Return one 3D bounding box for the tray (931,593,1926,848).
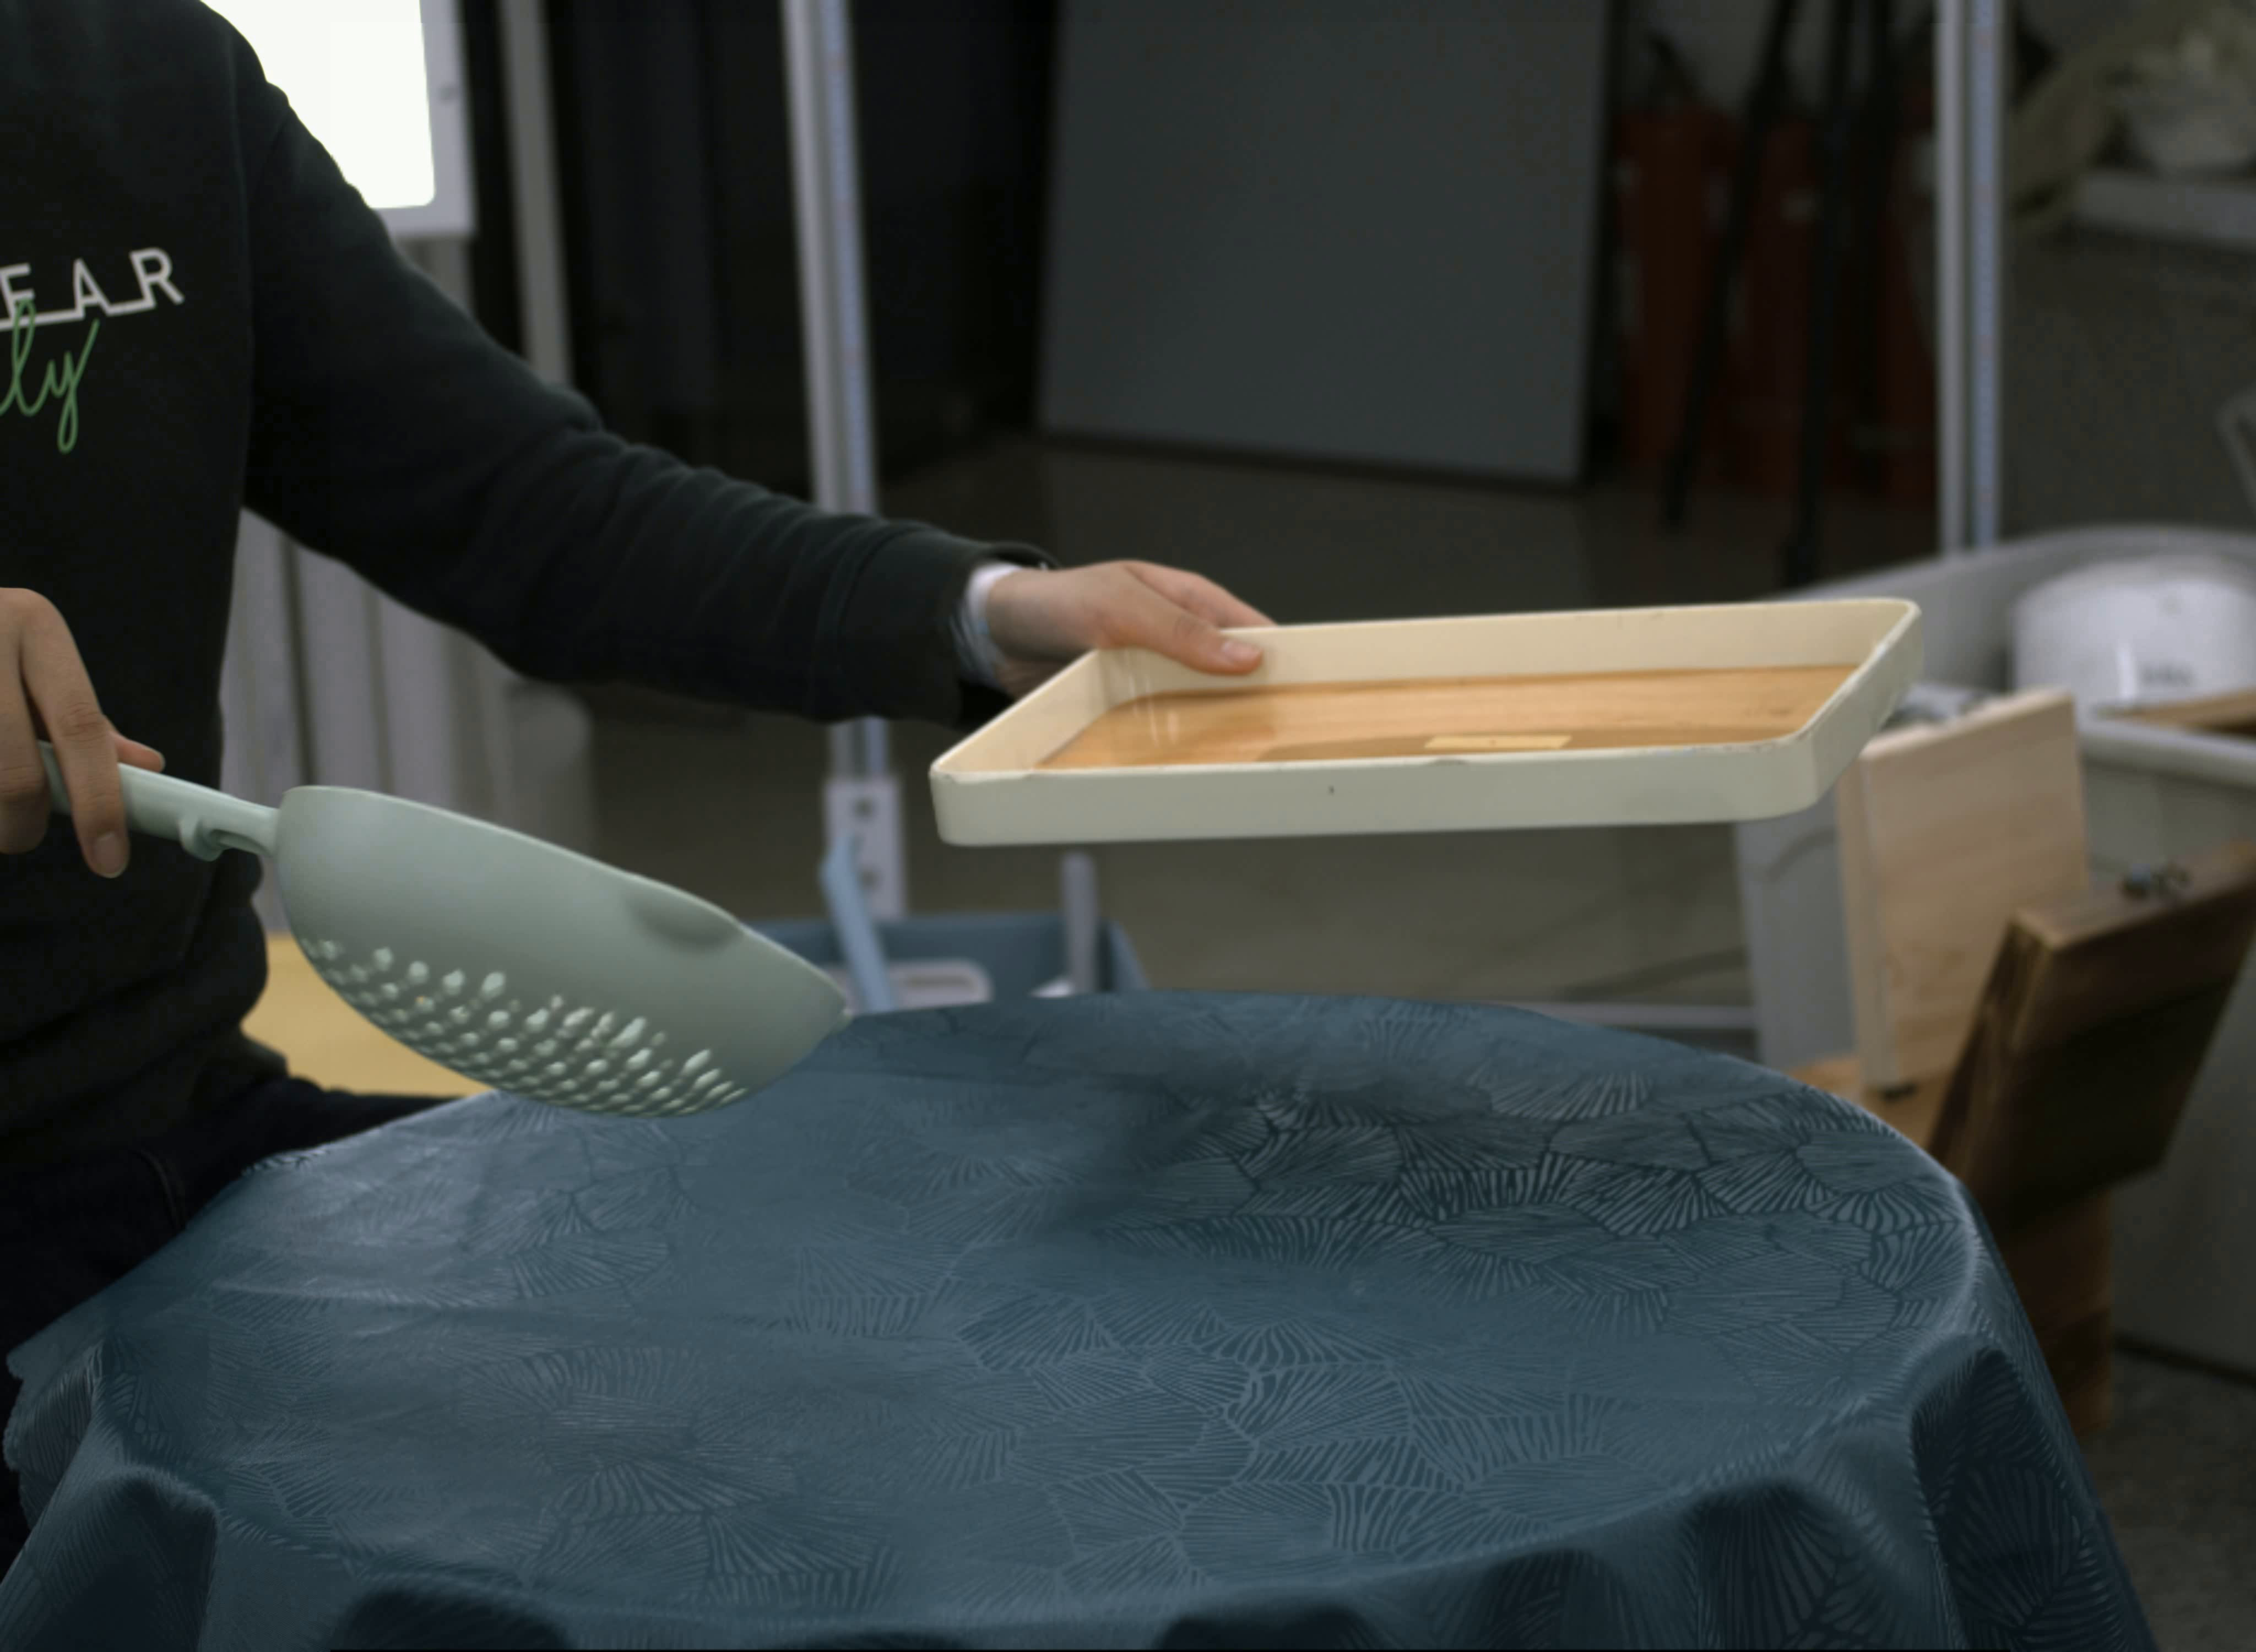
[{"bbox_3d":[0.101,-0.035,1.780,0.300,0.027,0.189,-2,15,23],"label":"tray"}]

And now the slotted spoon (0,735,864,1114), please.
[{"bbox_3d":[-0.247,0.007,1.556,0.360,0.076,0.168,23,-11,23],"label":"slotted spoon"}]
